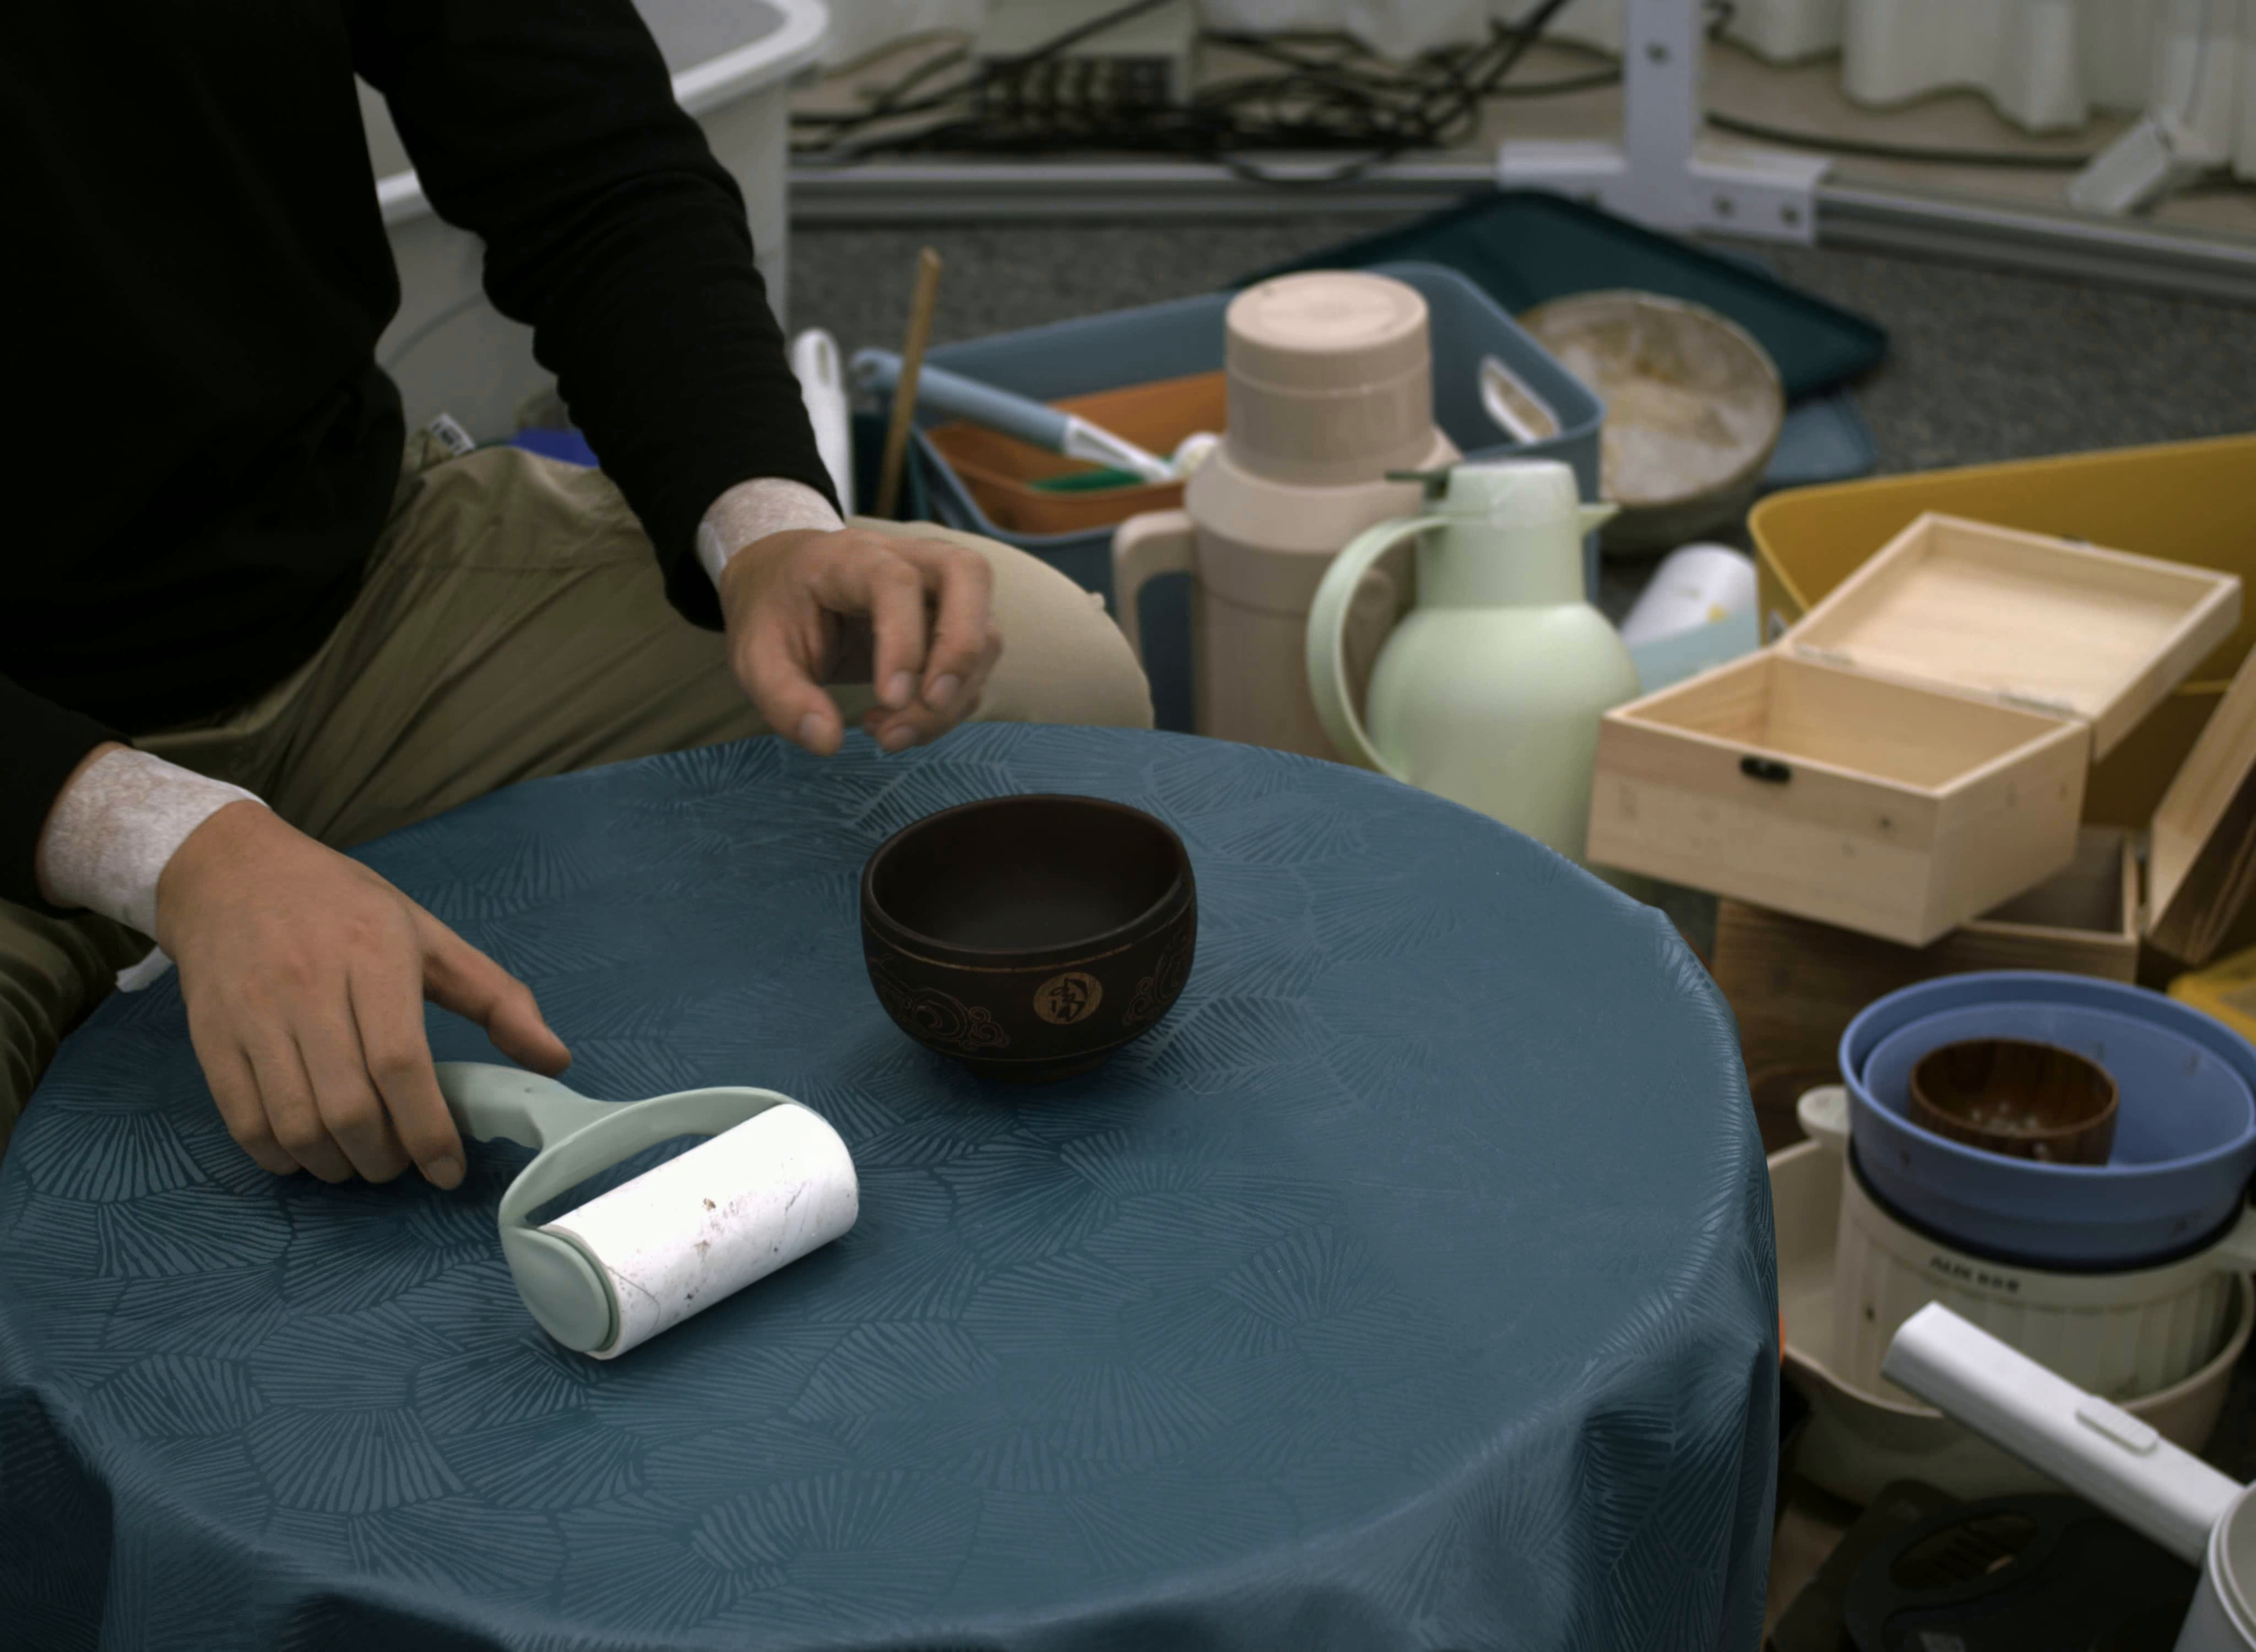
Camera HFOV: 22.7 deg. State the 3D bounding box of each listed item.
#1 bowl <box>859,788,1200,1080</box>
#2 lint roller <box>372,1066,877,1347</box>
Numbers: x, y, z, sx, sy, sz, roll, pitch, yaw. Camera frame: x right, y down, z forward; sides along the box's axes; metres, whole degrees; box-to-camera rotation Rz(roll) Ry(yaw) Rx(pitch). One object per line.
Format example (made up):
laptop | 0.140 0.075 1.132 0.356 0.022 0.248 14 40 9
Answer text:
bowl | -0.033 0.044 1.937 0.117 0.069 0.120 -3 27 2
lint roller | -0.184 0.107 1.860 0.118 0.048 0.197 -27 34 -37
